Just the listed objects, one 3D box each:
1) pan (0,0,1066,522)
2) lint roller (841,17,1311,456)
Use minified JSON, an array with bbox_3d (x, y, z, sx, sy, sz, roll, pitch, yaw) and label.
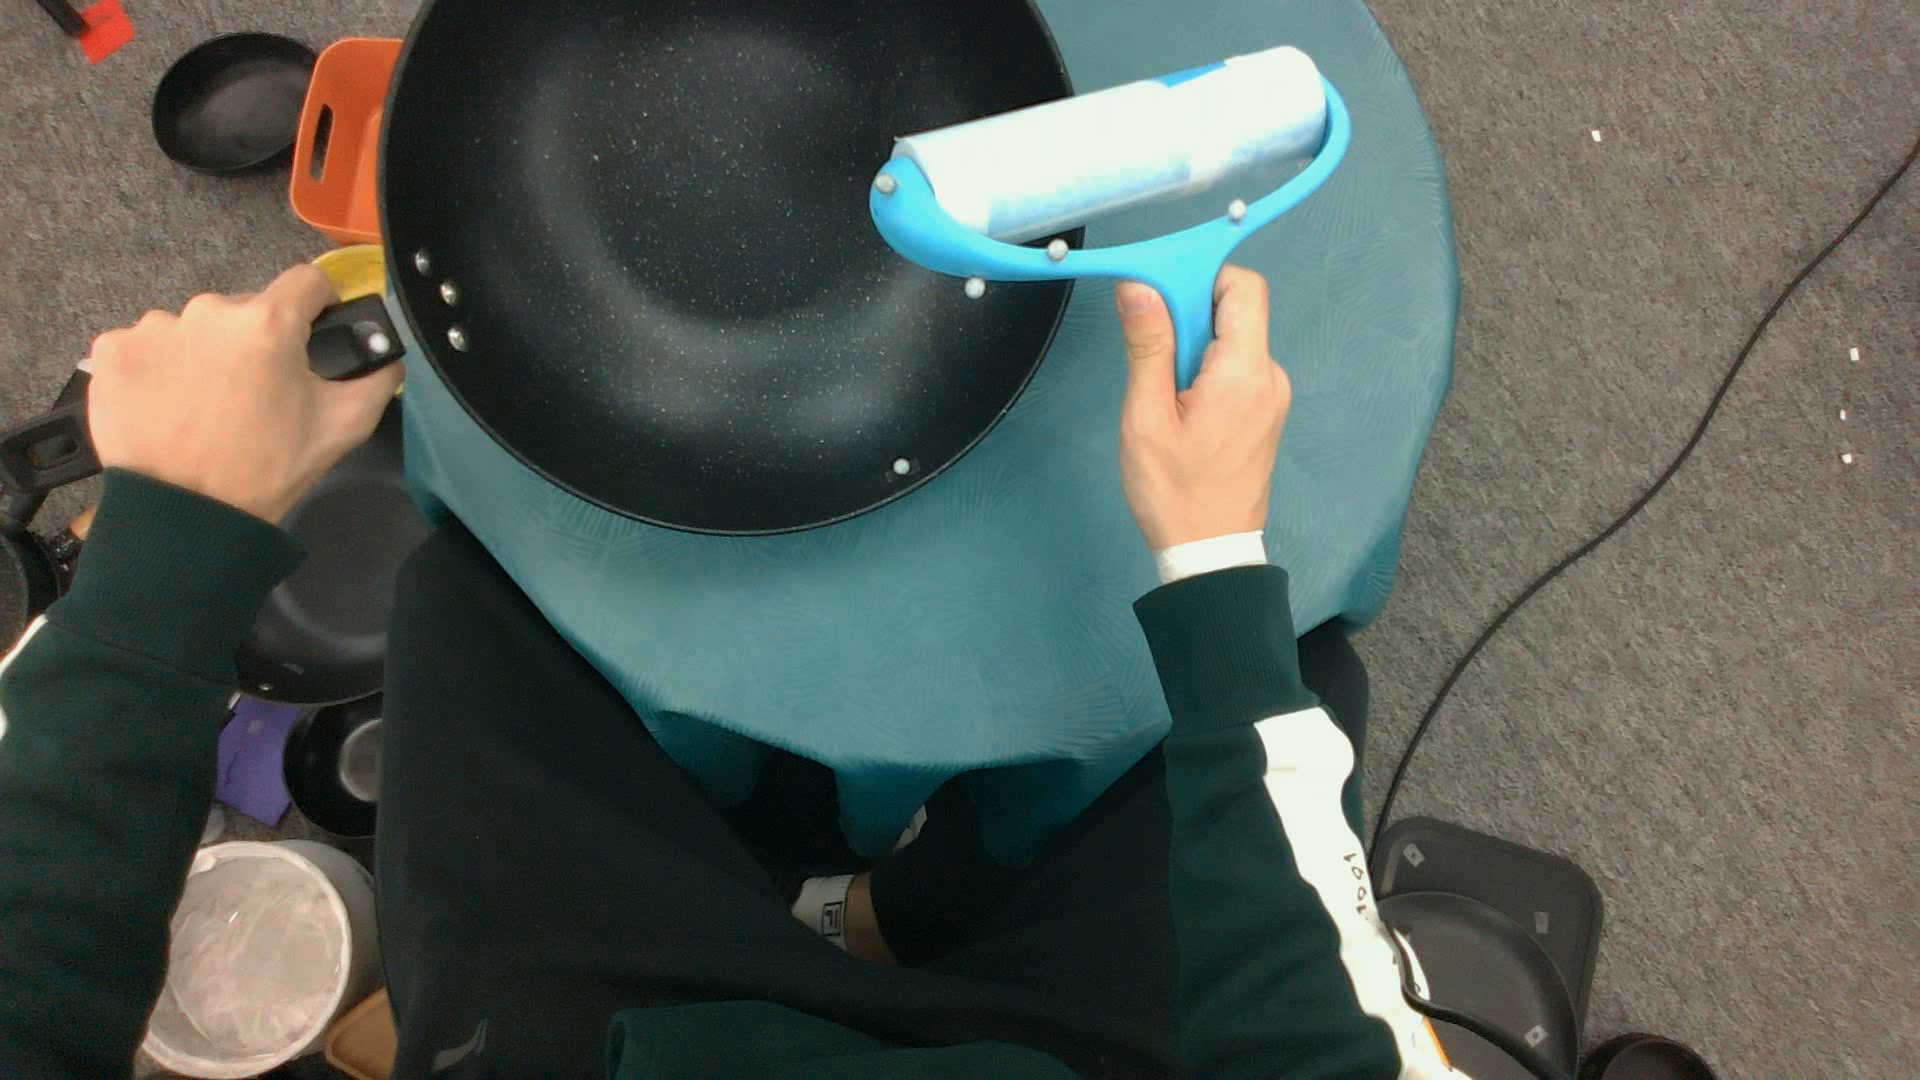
[{"bbox_3d":[-0.180,-0.131,0.626,0.477,0.112,0.309,-21,118,-7],"label":"pan"},{"bbox_3d":[0.076,-0.126,0.612,0.229,0.068,0.180,-25,96,-22],"label":"lint roller"}]
